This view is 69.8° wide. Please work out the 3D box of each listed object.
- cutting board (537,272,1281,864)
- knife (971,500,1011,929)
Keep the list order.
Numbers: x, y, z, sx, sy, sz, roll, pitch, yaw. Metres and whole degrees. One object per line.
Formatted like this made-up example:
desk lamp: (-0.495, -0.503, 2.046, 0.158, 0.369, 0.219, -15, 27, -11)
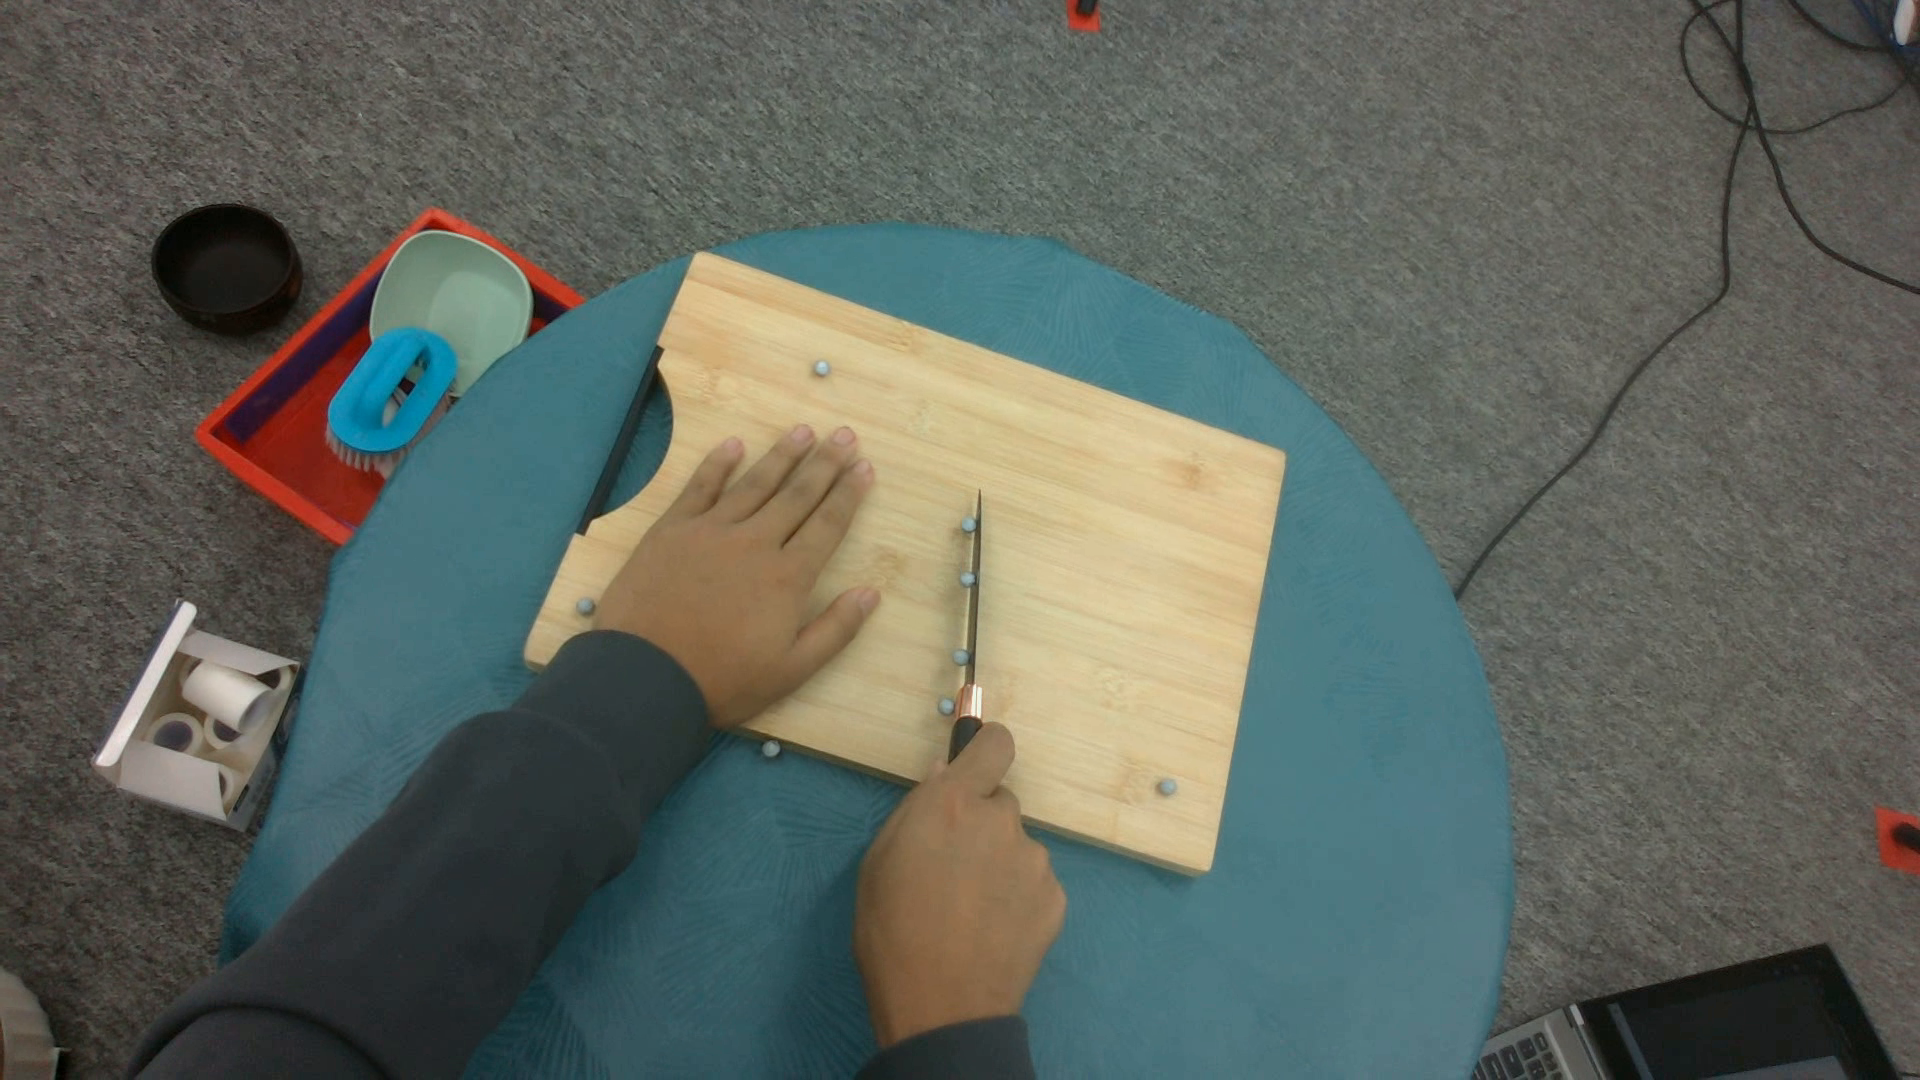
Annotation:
cutting board: (-0.011, 0.008, 0.718, 0.349, 0.023, 0.251, 14, 65, -4)
knife: (0.013, 0.076, 0.669, 0.017, 0.026, 0.226, 2, 62, -7)
